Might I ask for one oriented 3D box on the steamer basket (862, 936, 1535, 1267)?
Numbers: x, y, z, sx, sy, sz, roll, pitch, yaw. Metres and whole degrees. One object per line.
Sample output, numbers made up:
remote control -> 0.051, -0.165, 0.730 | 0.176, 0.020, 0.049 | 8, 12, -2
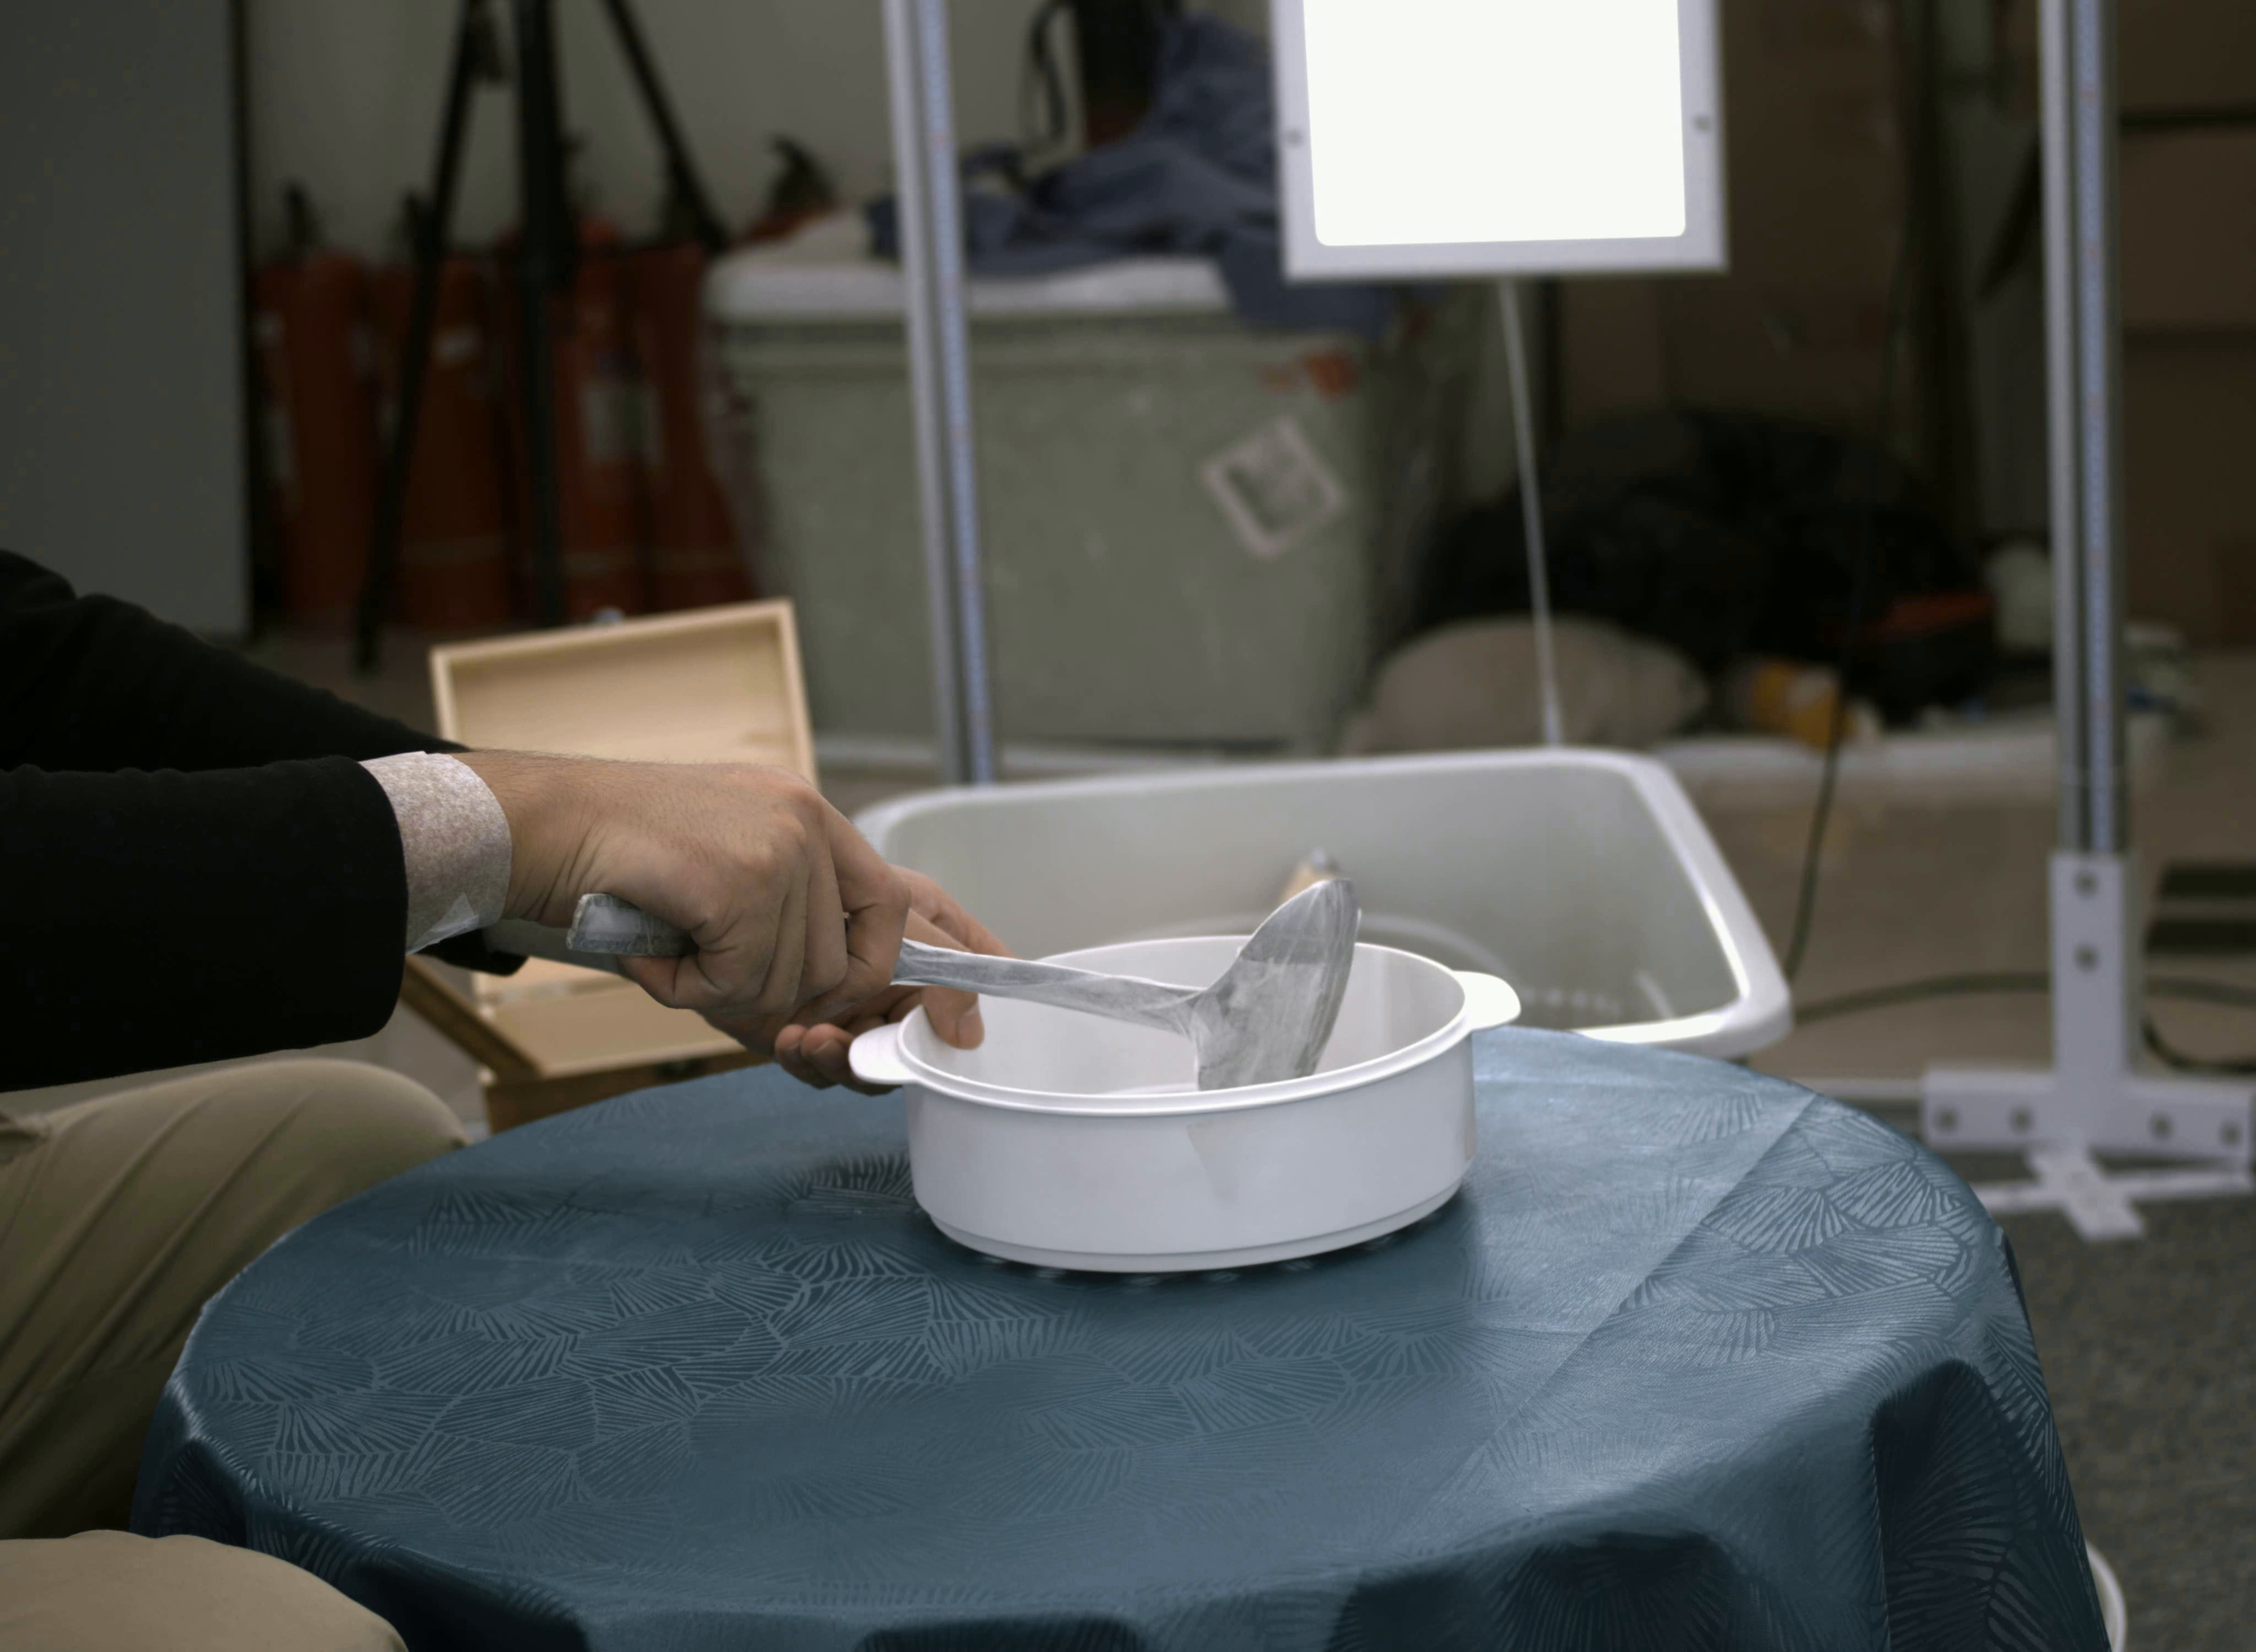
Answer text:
steamer basket -> 0.026, 0.094, 1.875 | 0.230, 0.069, 0.202 | -6, 13, -1

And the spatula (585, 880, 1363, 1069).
spatula -> -0.043, 0.050, 1.795 | 0.356, 0.099, 0.045 | 10, 14, -42
